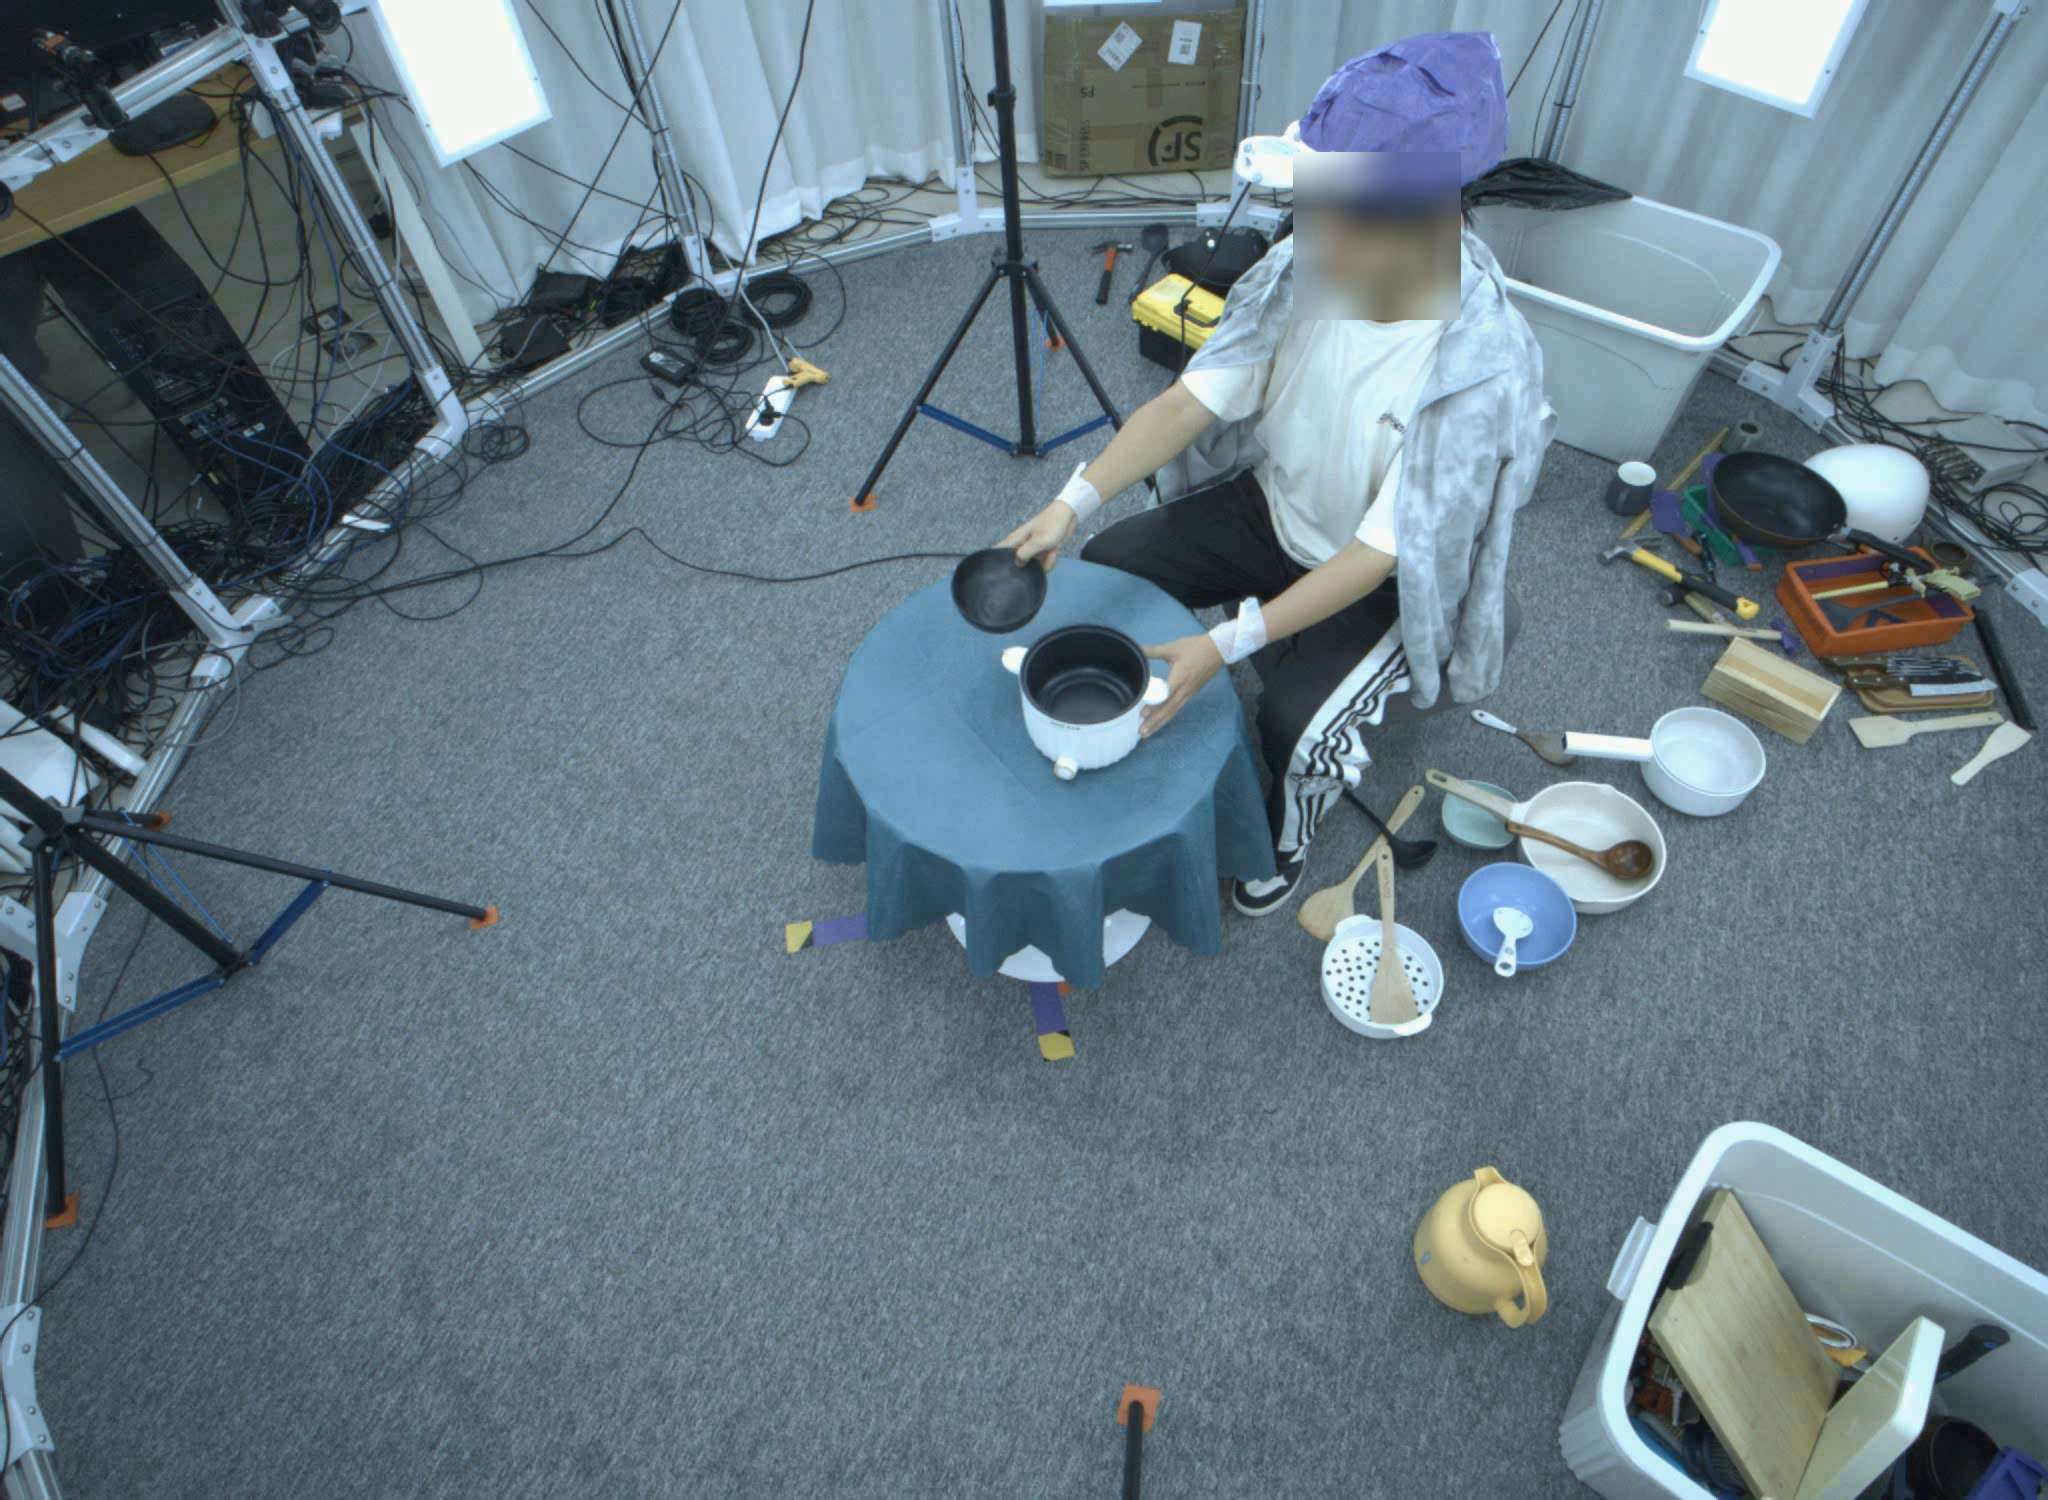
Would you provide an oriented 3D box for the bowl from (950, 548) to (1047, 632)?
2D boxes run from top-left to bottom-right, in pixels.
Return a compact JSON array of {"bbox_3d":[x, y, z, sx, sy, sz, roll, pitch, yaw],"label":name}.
[{"bbox_3d":[-0.037,-0.223,1.770,0.137,0.067,0.169,10,52,3],"label":"bowl"}]

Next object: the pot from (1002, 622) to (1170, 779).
[{"bbox_3d":[0.086,-0.065,1.748,0.238,0.144,0.190,13,53,12],"label":"pot"}]
